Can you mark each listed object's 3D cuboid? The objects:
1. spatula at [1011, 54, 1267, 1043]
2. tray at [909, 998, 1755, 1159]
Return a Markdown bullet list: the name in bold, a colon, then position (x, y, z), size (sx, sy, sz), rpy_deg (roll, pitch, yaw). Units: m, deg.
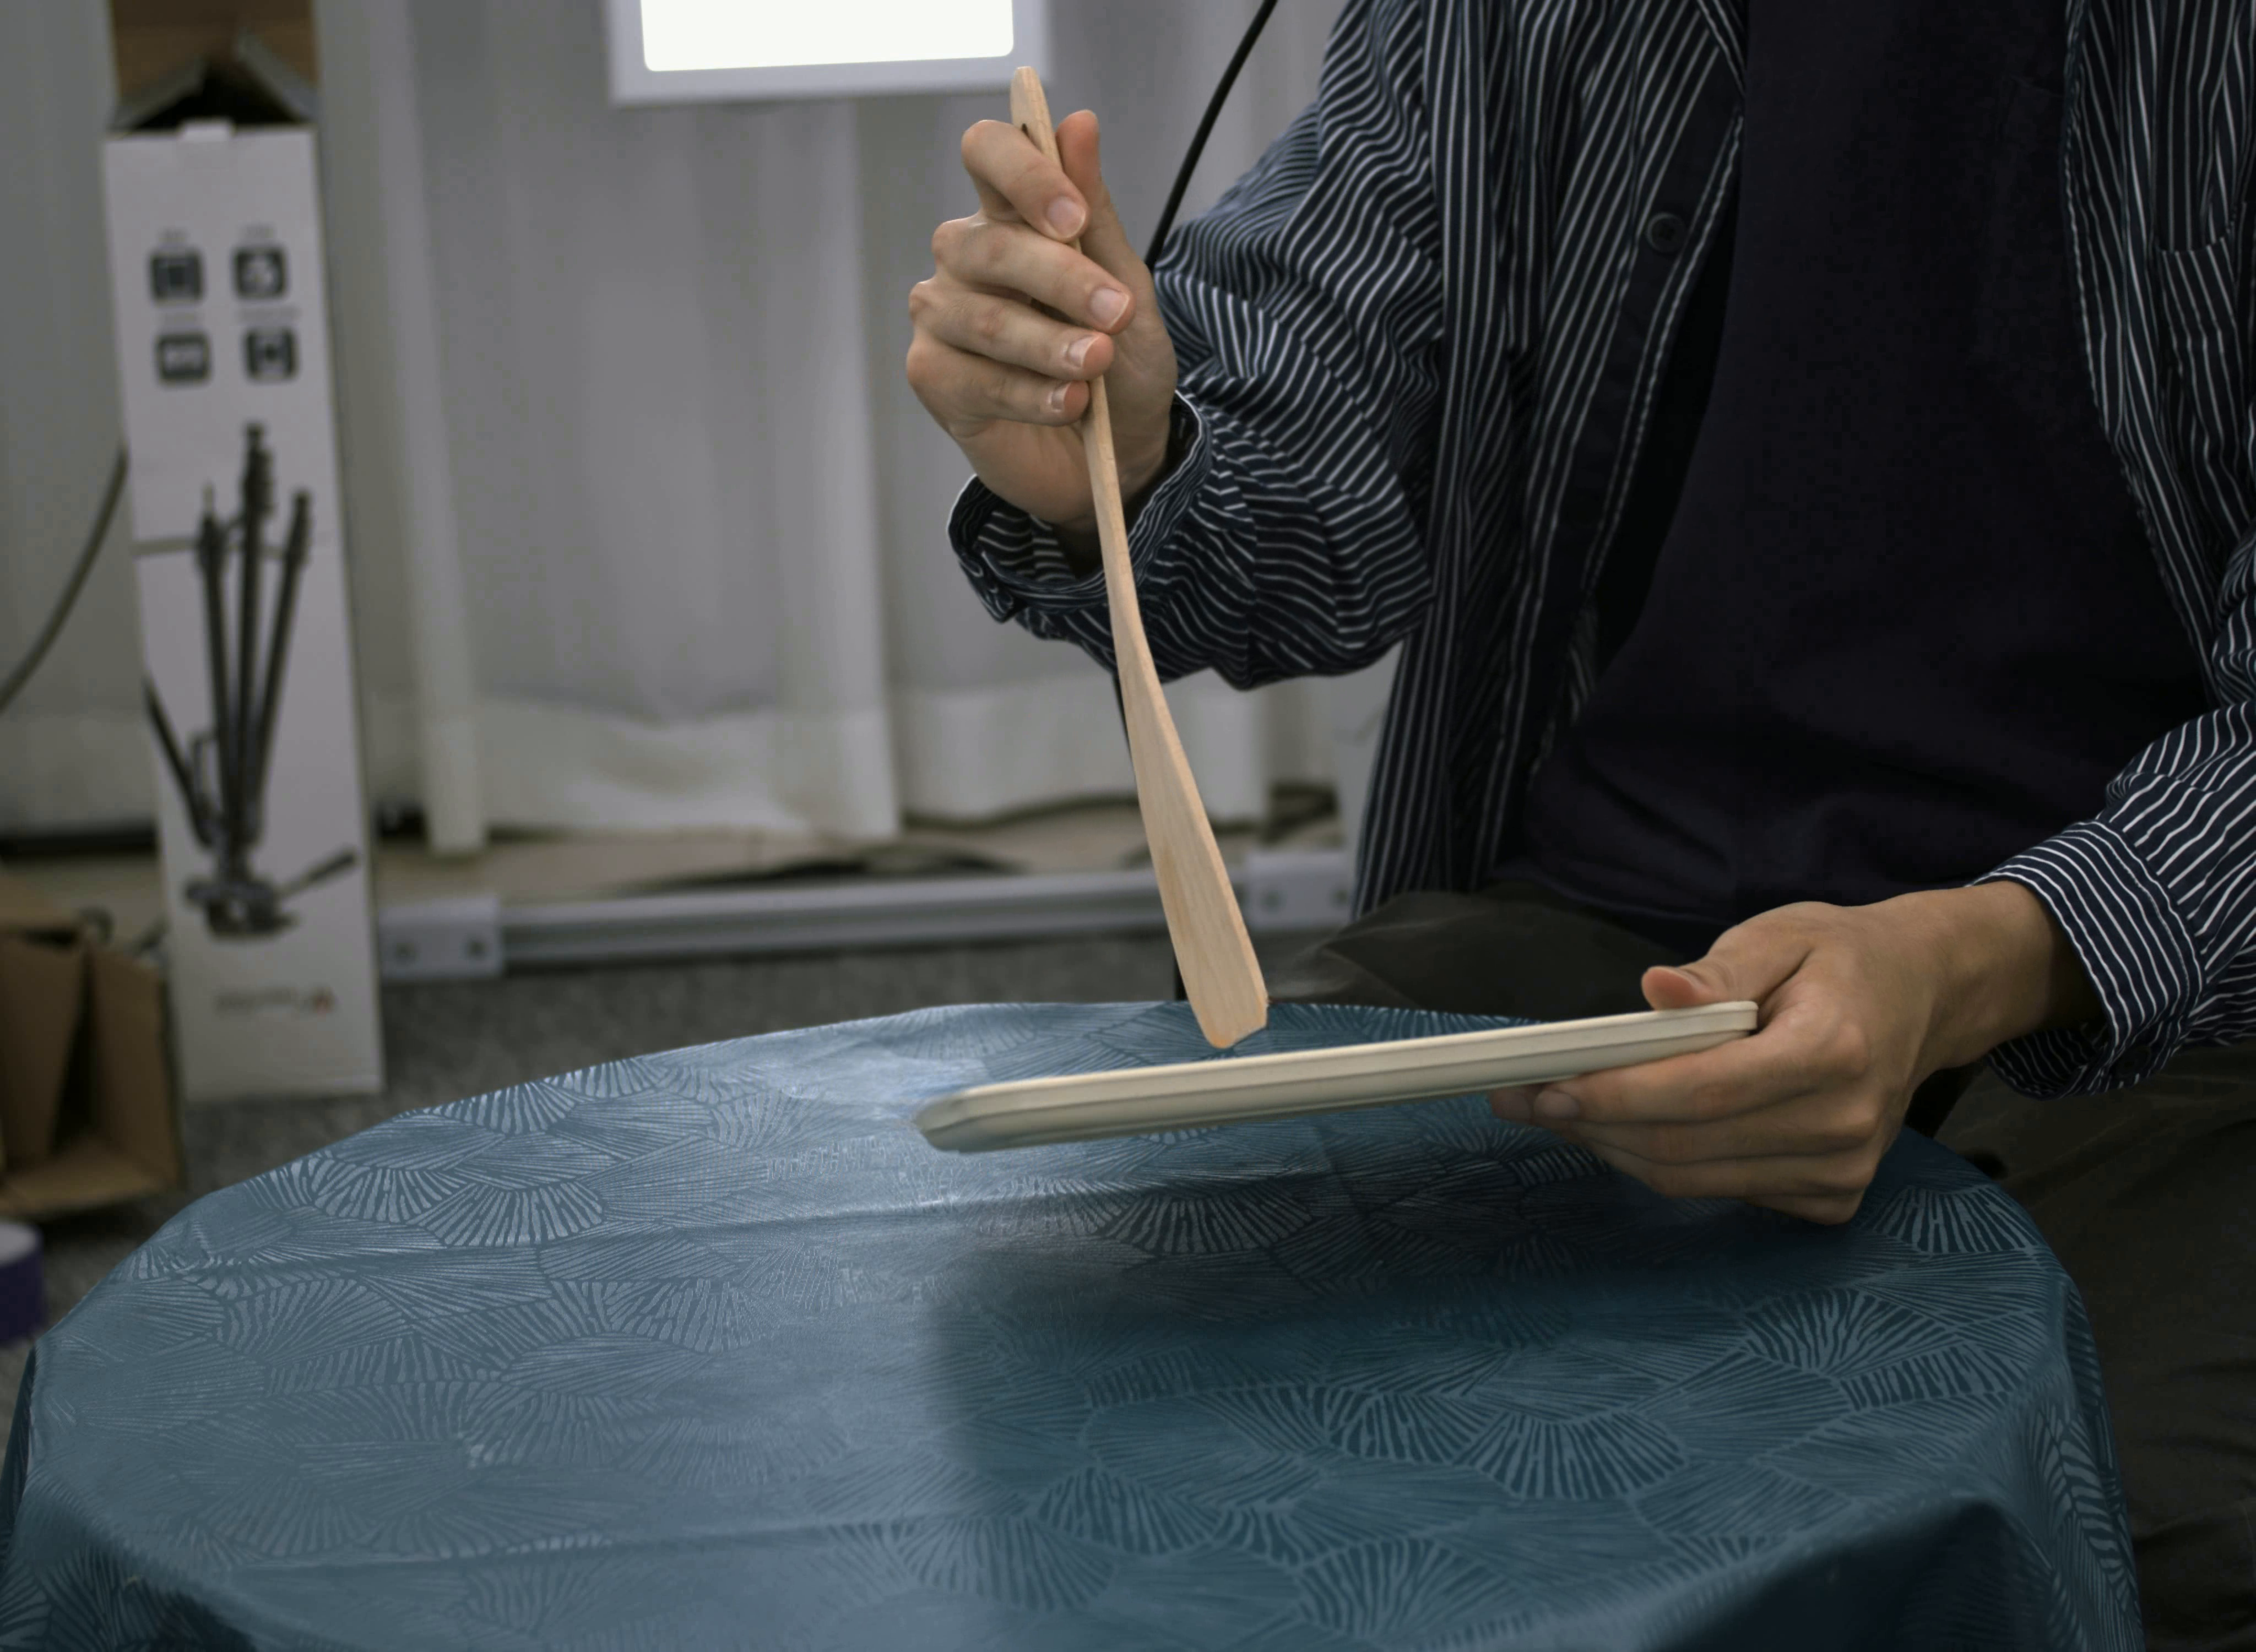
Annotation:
- **spatula**: position (-0.001, -0.087, 1.677), size (0.016, 0.331, 0.079), rpy_deg (-6, -19, -13)
- **tray**: position (0.059, 0.078, 1.646), size (0.238, 0.017, 0.171), rpy_deg (-6, -4, -11)
